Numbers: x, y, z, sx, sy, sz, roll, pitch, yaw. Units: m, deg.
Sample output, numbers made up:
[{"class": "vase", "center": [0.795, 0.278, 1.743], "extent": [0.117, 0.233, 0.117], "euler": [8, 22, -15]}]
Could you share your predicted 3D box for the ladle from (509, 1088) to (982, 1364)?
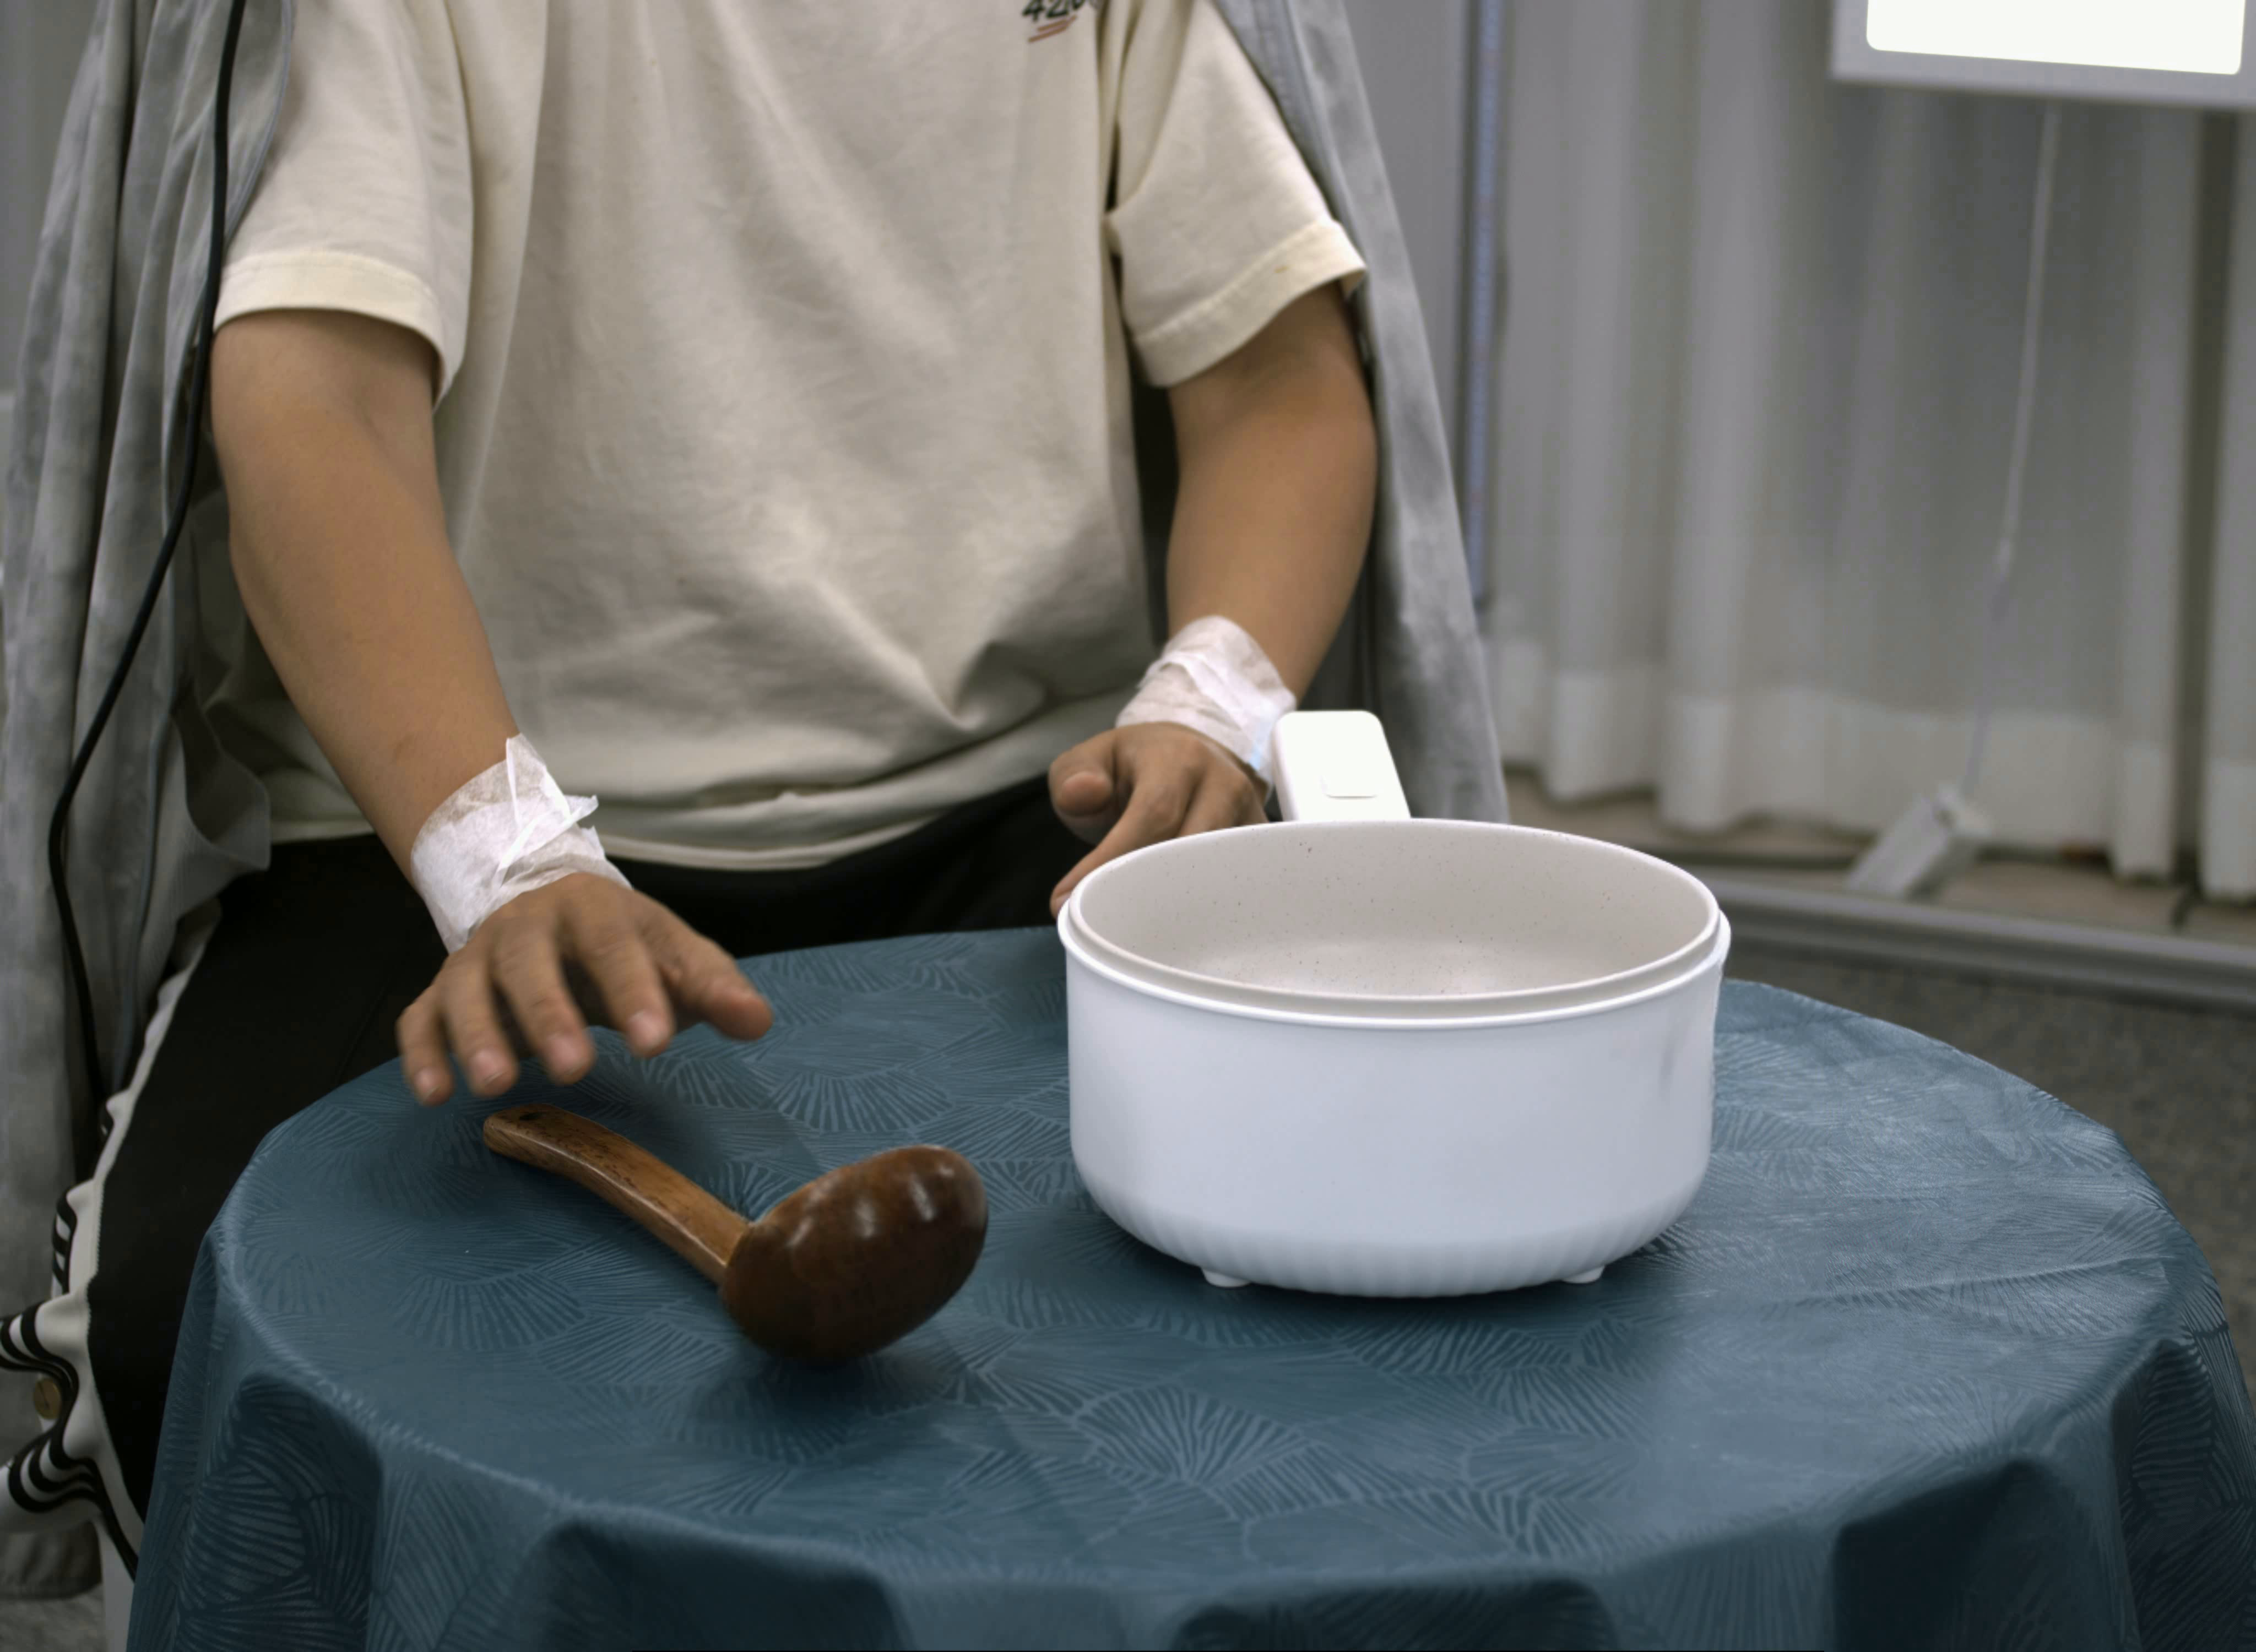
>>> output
[{"class": "ladle", "center": [-0.128, 0.093, 1.541], "extent": [0.082, 0.077, 0.270], "euler": [-11, 20, -27]}]

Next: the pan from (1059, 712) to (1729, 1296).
[{"class": "pan", "center": [0.077, 0.051, 1.662], "extent": [0.201, 0.103, 0.352], "euler": [-1, 15, -2]}]
